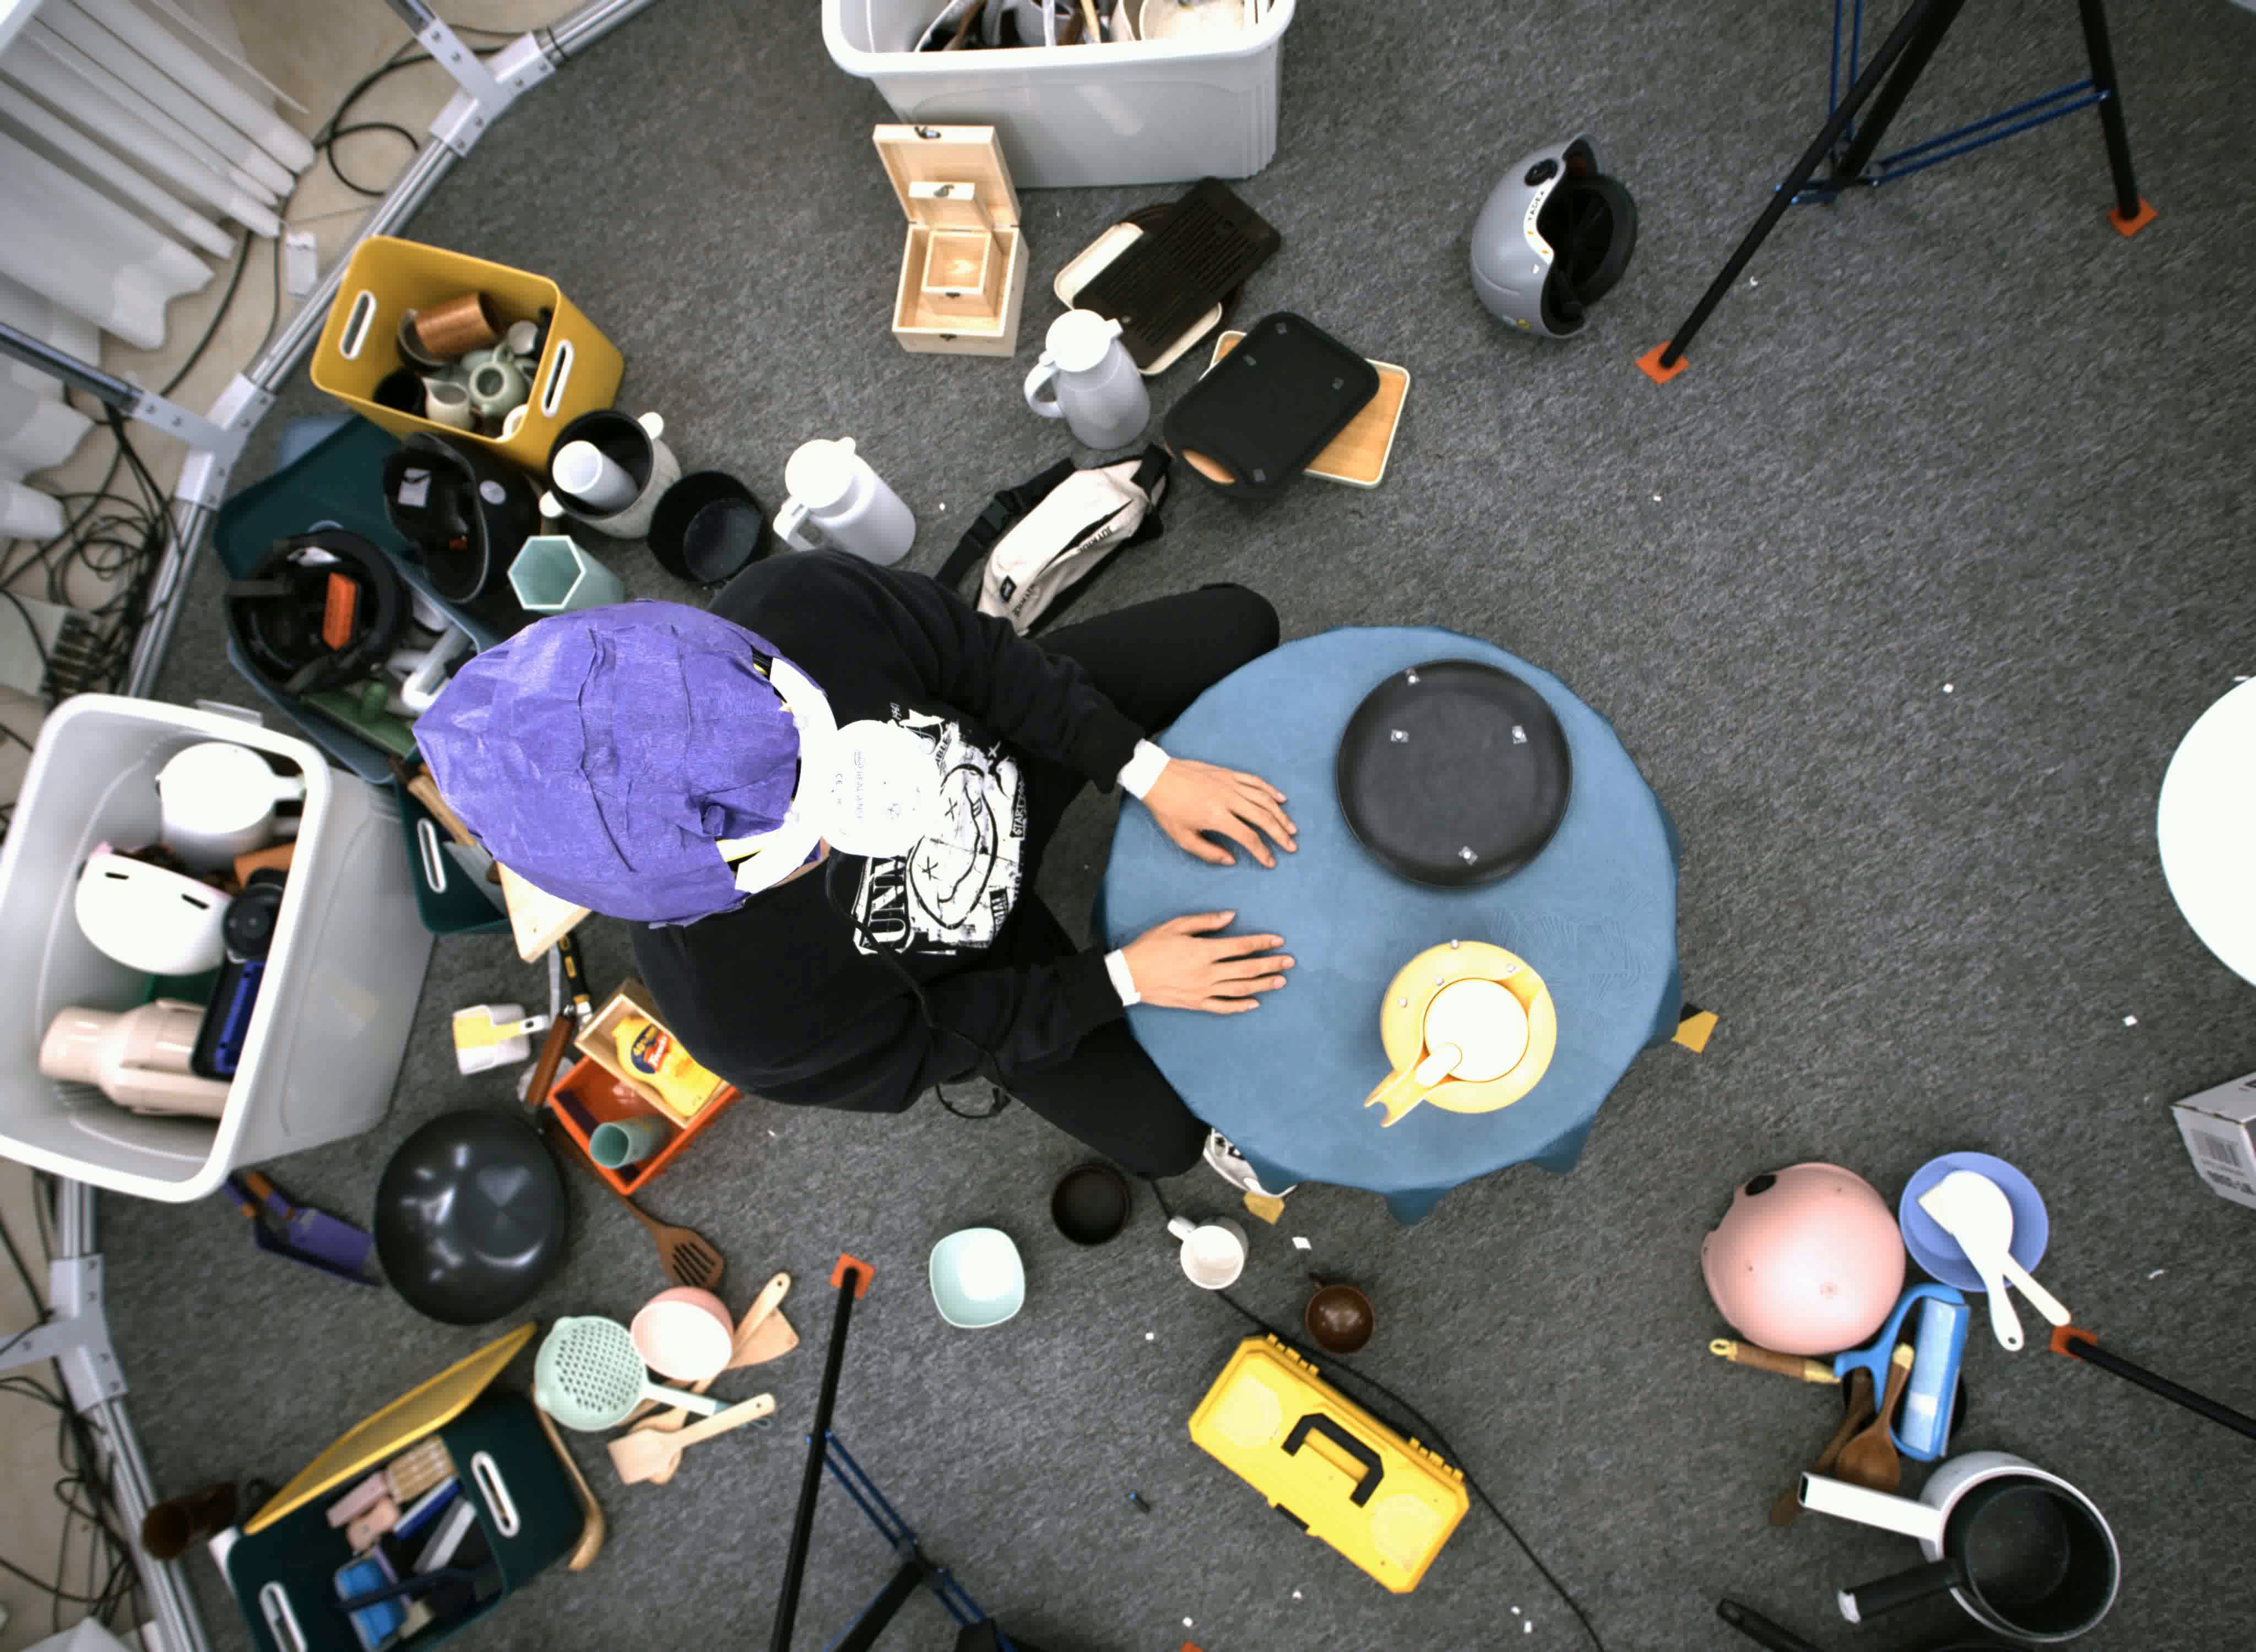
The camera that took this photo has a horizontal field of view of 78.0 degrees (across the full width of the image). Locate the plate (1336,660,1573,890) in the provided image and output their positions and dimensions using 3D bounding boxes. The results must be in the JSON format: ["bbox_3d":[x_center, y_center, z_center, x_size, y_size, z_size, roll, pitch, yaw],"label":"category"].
[{"bbox_3d":[0.341,-0.055,1.442,0.245,0.023,0.243,-1,87,11],"label":"plate"}]

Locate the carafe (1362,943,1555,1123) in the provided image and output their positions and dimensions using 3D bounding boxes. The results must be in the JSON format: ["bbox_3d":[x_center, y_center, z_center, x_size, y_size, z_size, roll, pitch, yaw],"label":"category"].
[{"bbox_3d":[0.306,0.202,1.314,0.203,0.261,0.162,-40,77,3],"label":"carafe"}]
